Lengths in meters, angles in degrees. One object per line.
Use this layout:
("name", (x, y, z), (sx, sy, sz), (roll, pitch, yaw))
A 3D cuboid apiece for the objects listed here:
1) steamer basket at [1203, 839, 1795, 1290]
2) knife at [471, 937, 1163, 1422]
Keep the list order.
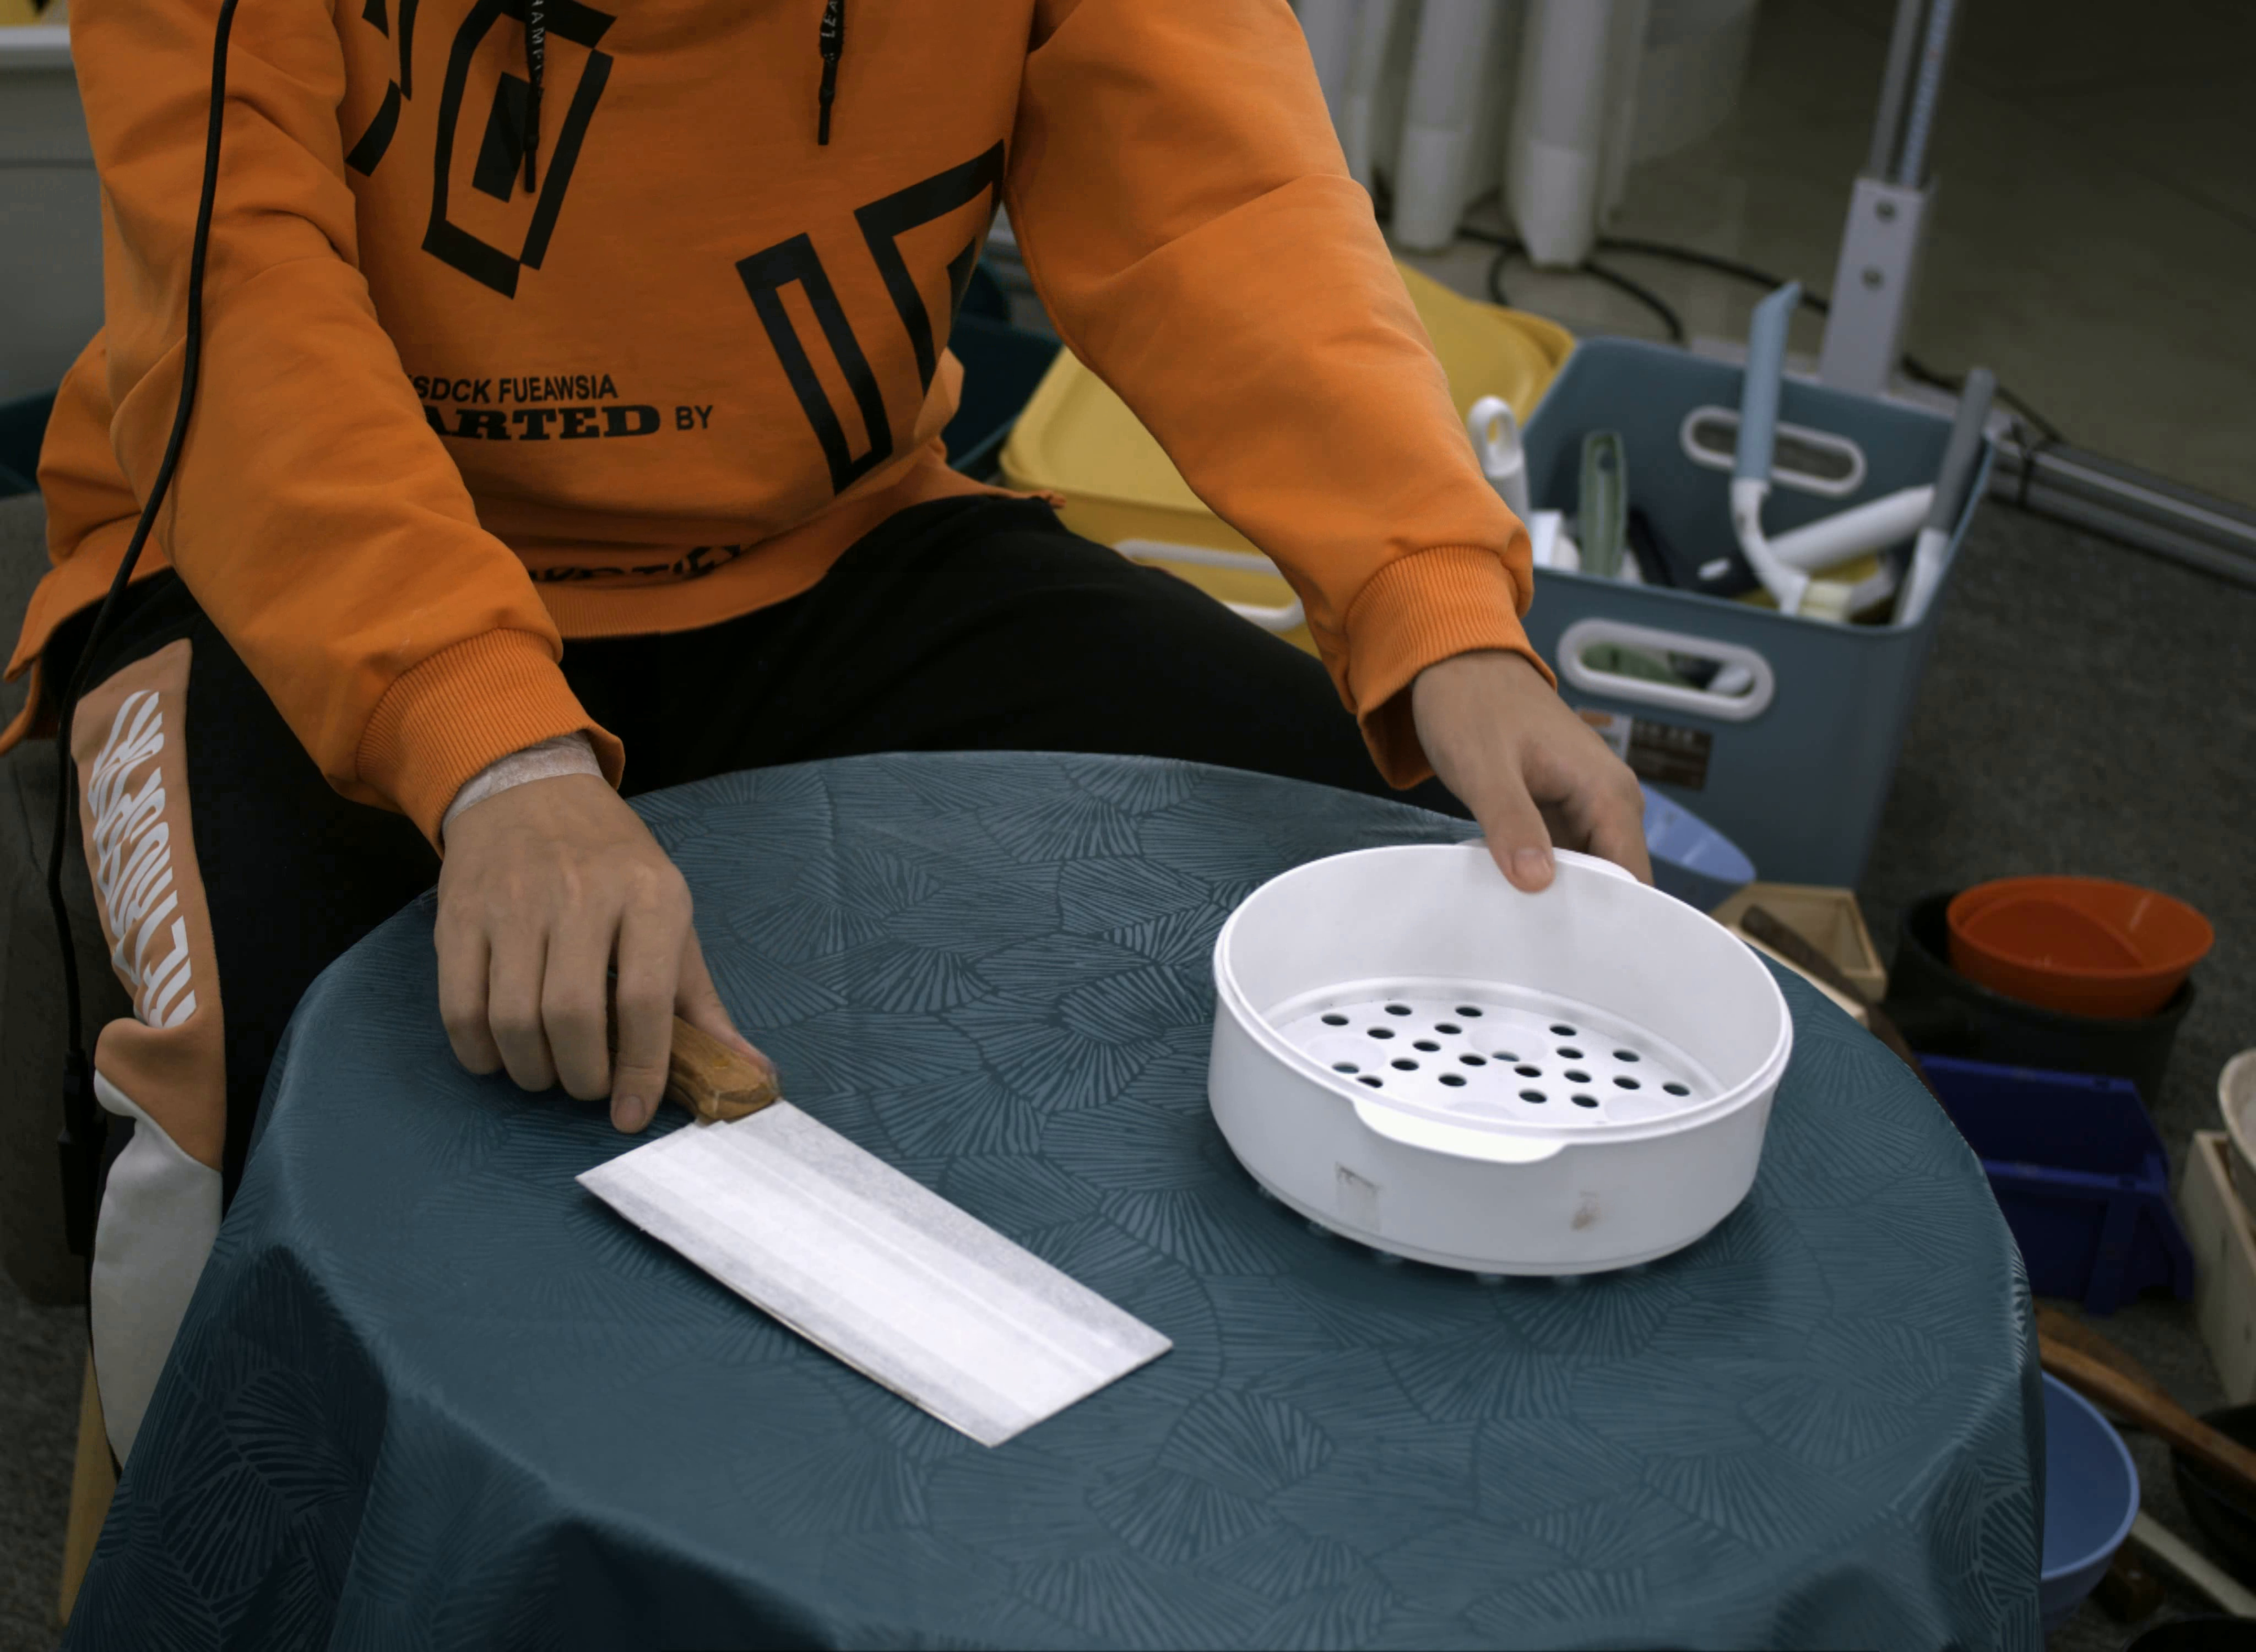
("steamer basket", (0.125, 0.084, 1.834), (0.202, 0.069, 0.231), (10, 29, 9))
("knife", (-0.125, 0.118, 1.769), (0.308, 0.021, 0.092), (29, 36, 33))
